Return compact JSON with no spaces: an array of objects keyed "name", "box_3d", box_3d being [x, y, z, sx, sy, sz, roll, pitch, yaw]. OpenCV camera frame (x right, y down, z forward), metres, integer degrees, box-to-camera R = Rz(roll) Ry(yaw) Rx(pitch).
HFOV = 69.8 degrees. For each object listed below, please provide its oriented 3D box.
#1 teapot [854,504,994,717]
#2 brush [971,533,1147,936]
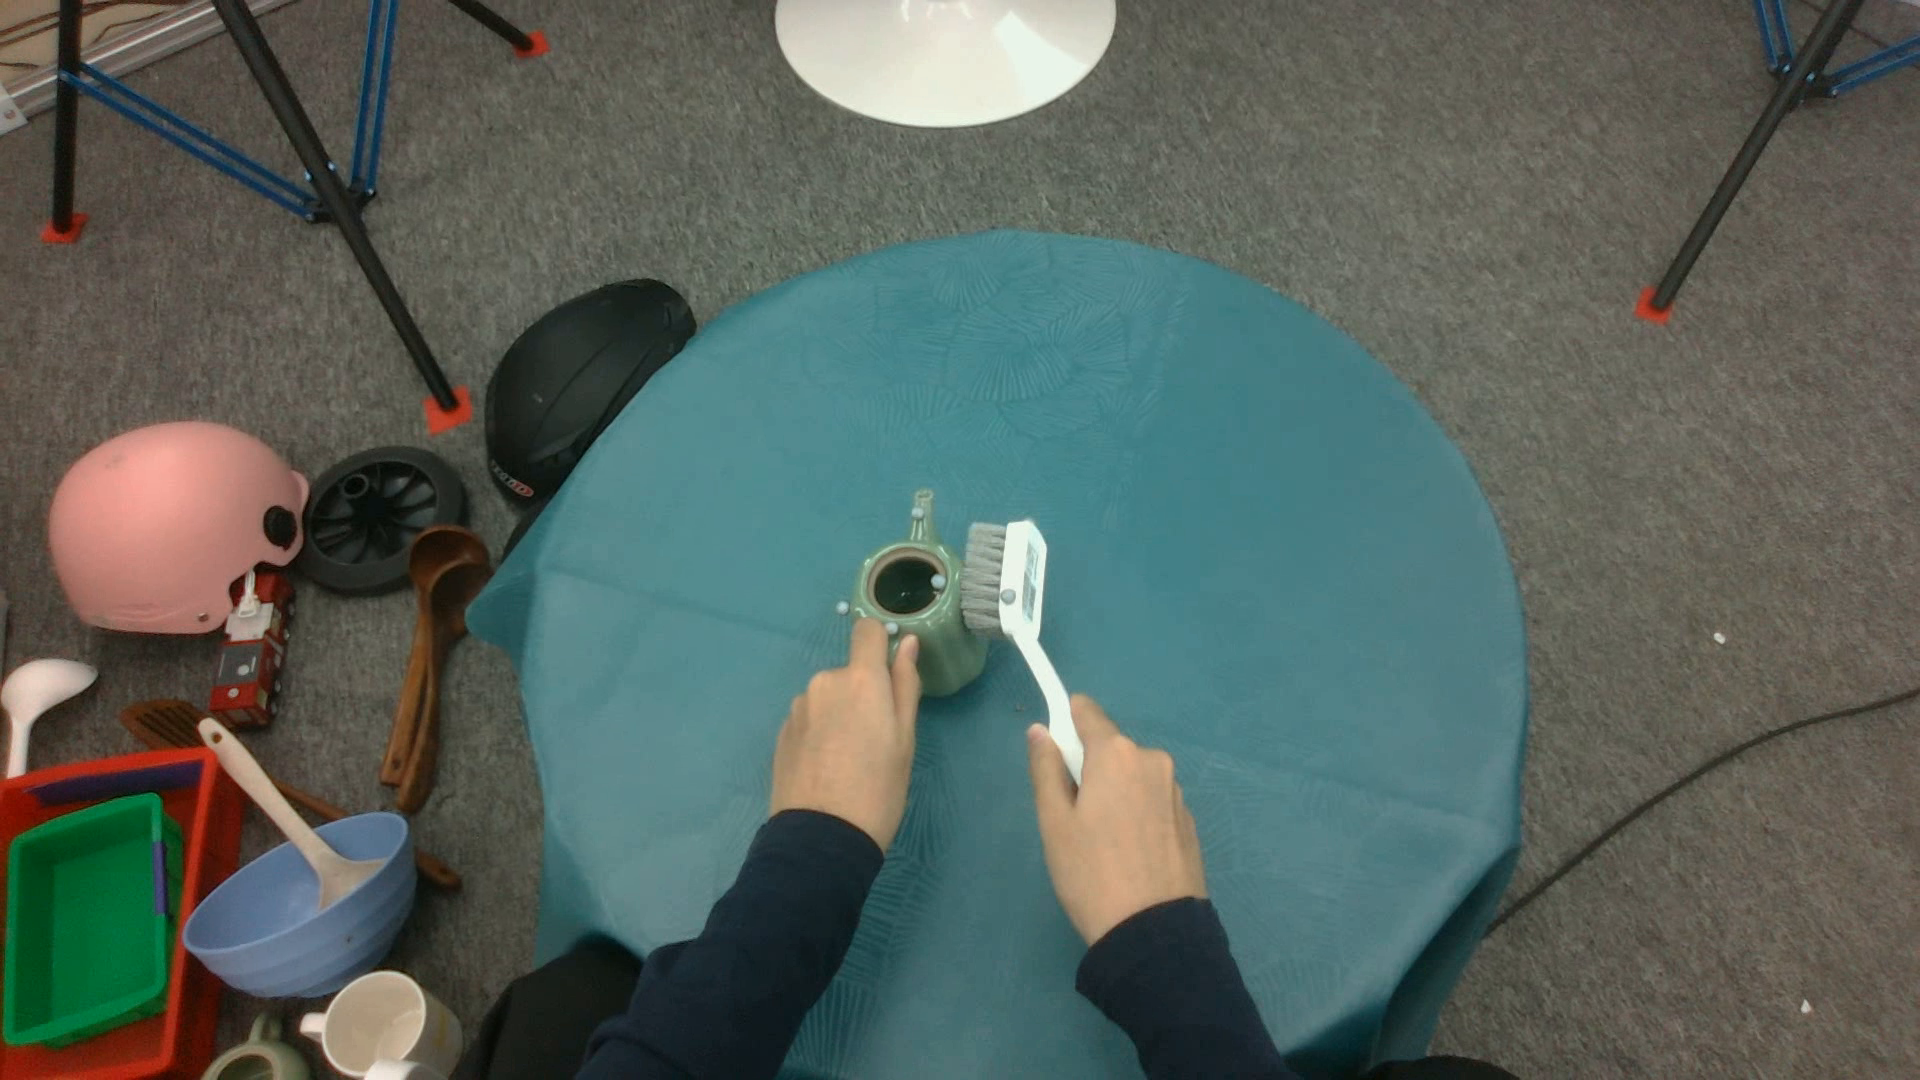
[{"name":"teapot","box_3d":[-0.023,0.051,0.797,0.079,0.075,0.133,0,55,14]},{"name":"brush","box_3d":[0.046,0.097,0.732,0.050,0.034,0.244,-20,56,11]}]
